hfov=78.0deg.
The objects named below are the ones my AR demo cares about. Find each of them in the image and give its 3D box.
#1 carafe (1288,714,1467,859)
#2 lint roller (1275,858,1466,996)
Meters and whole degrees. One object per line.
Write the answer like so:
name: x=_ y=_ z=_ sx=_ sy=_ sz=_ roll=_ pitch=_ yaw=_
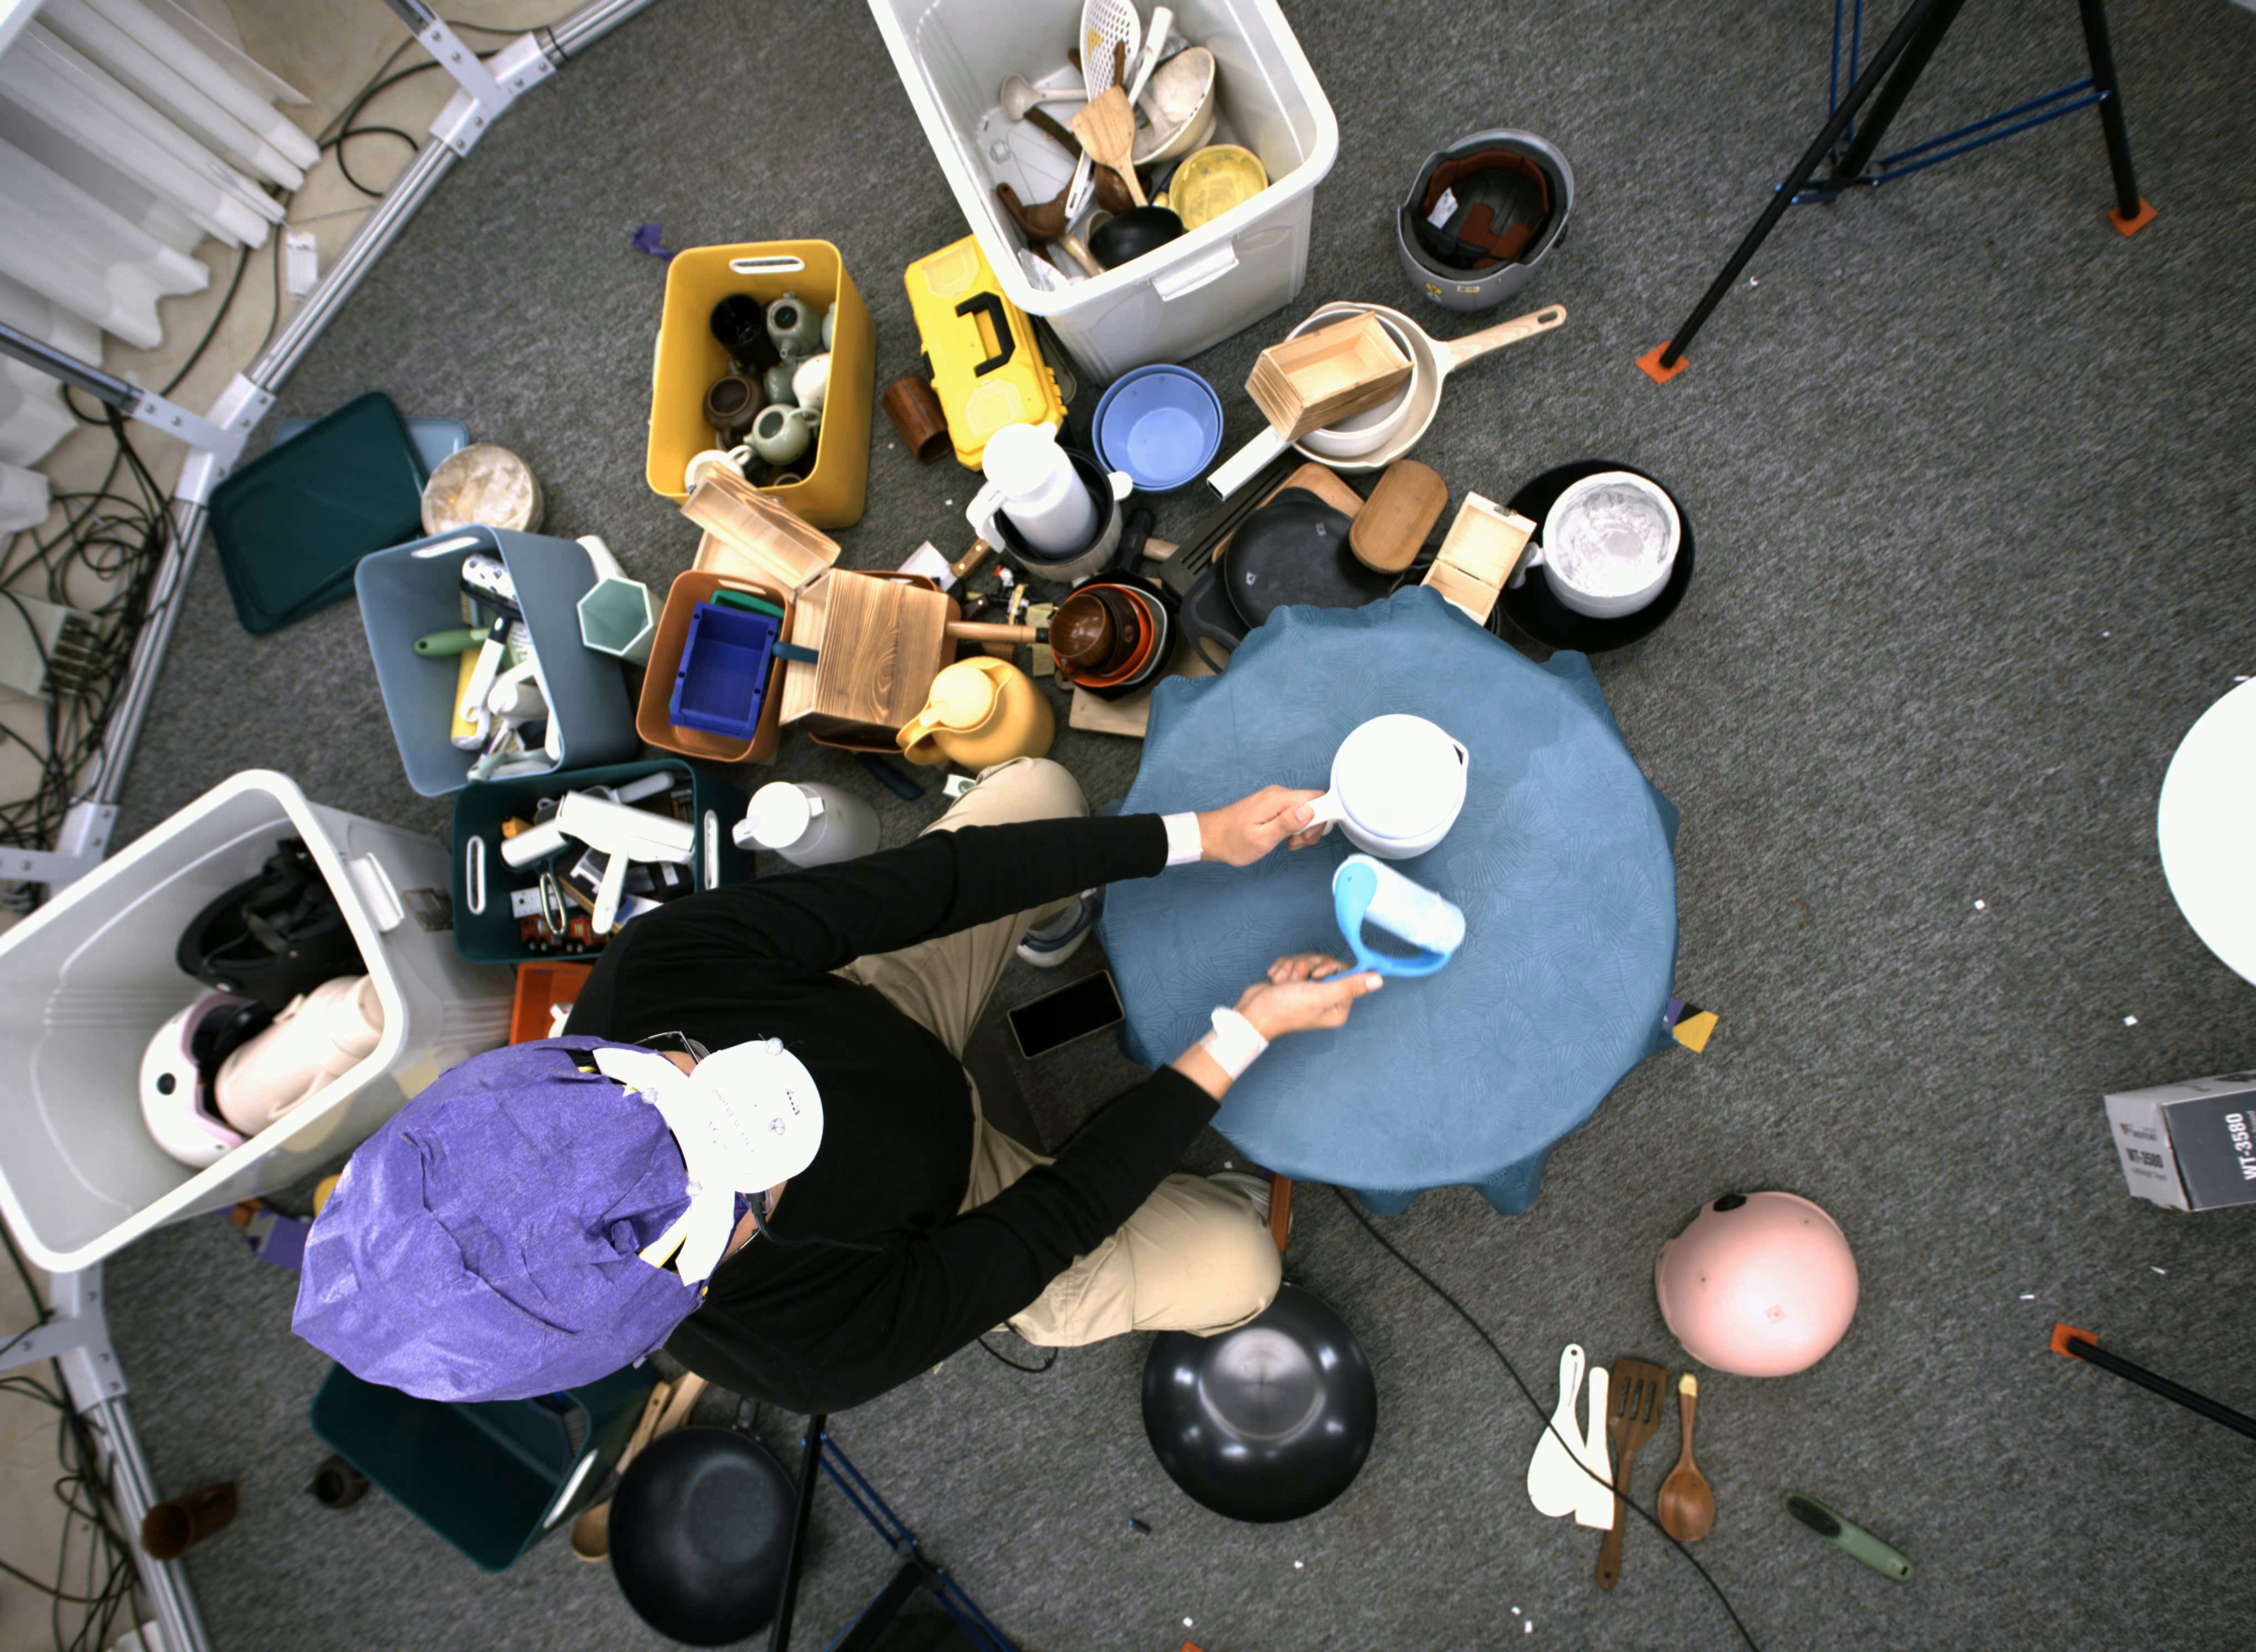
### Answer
carafe: x=0.247 y=-0.029 z=1.383 sx=0.192 sy=0.182 sz=0.131 roll=-23 pitch=81 yaw=10
lint roller: x=0.226 y=0.122 z=1.358 sx=0.183 sy=0.229 sz=0.067 roll=-46 pitch=54 yaw=19
